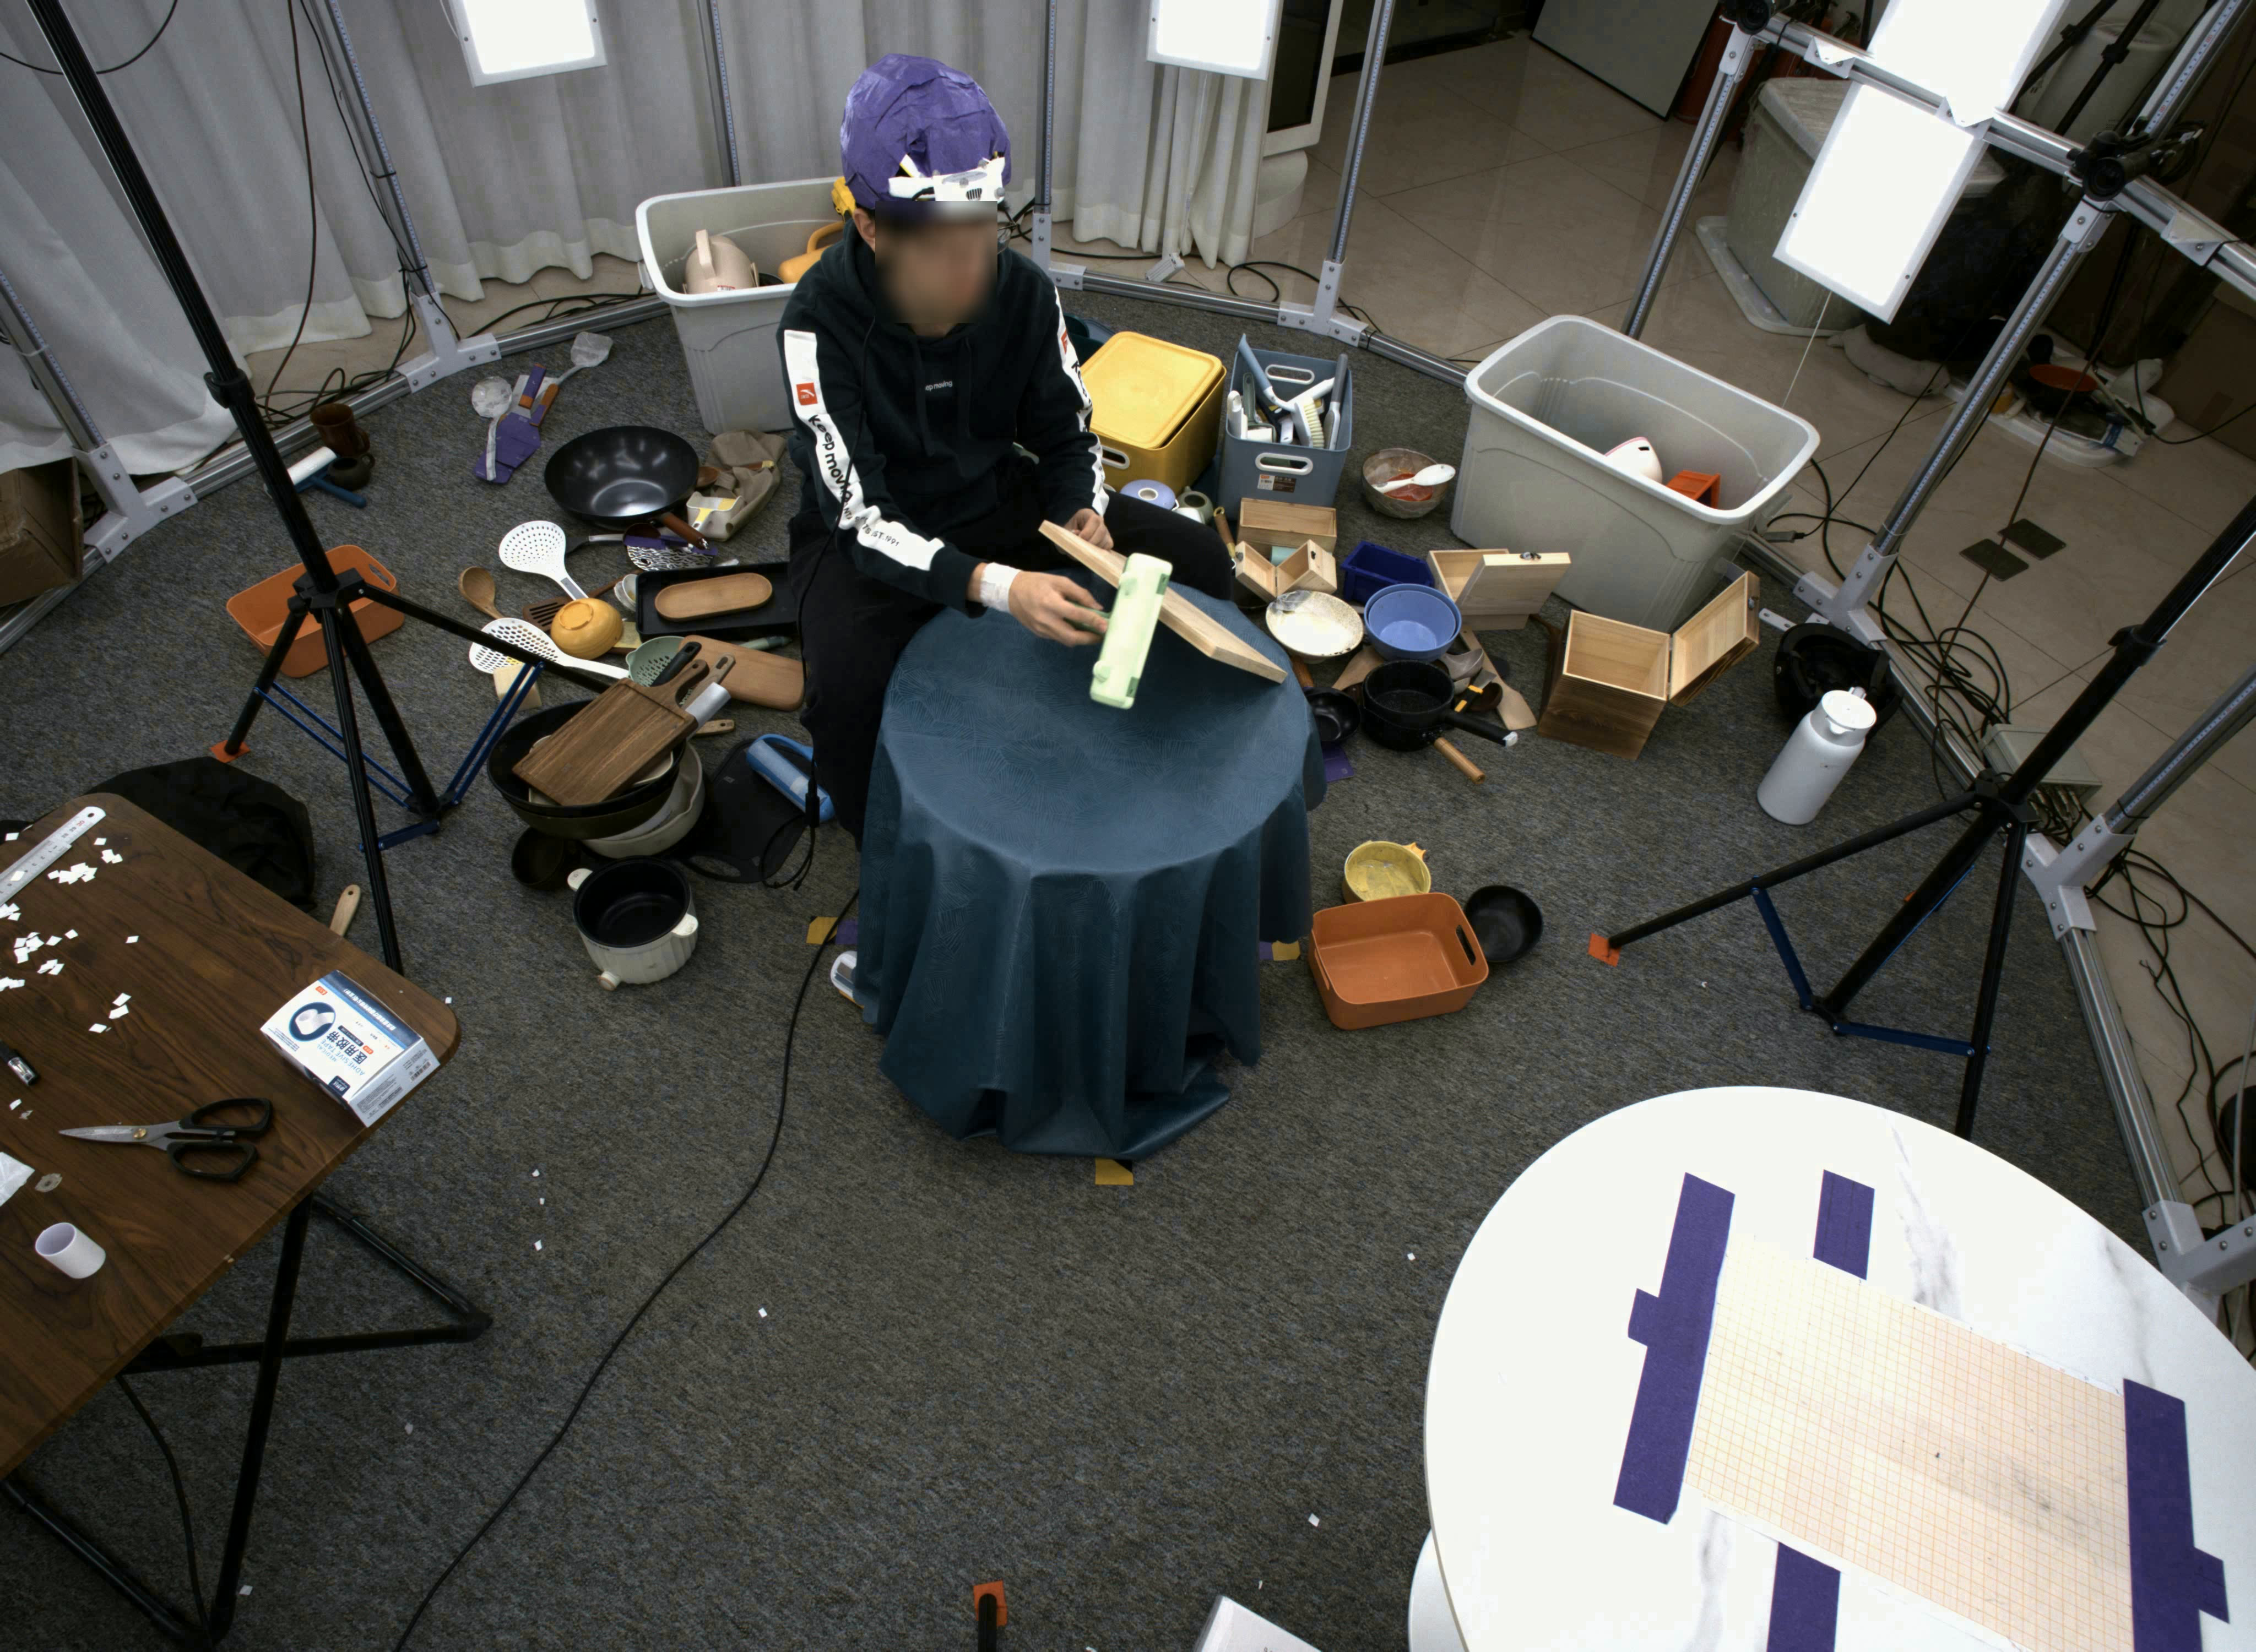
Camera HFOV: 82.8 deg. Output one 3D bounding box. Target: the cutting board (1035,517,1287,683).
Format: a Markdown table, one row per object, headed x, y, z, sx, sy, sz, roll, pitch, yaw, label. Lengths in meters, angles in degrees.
| x | y | z | sx | sy | sz | roll | pitch | yaw | label |
| --- | --- | --- | --- | --- | --- | --- | --- | --- | --- |
| 0.049 | -0.321 | 1.839 | 0.354 | 0.023 | 0.249 | 40 | 16 | 26 | cutting board |

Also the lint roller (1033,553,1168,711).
| x | y | z | sx | sy | sz | roll | pitch | yaw | label |
| --- | --- | --- | --- | --- | --- | --- | --- | --- | --- |
| -0.055 | -0.266 | 1.661 | 0.184 | 0.198 | 0.082 | 18 | 5 | 20 | lint roller |
